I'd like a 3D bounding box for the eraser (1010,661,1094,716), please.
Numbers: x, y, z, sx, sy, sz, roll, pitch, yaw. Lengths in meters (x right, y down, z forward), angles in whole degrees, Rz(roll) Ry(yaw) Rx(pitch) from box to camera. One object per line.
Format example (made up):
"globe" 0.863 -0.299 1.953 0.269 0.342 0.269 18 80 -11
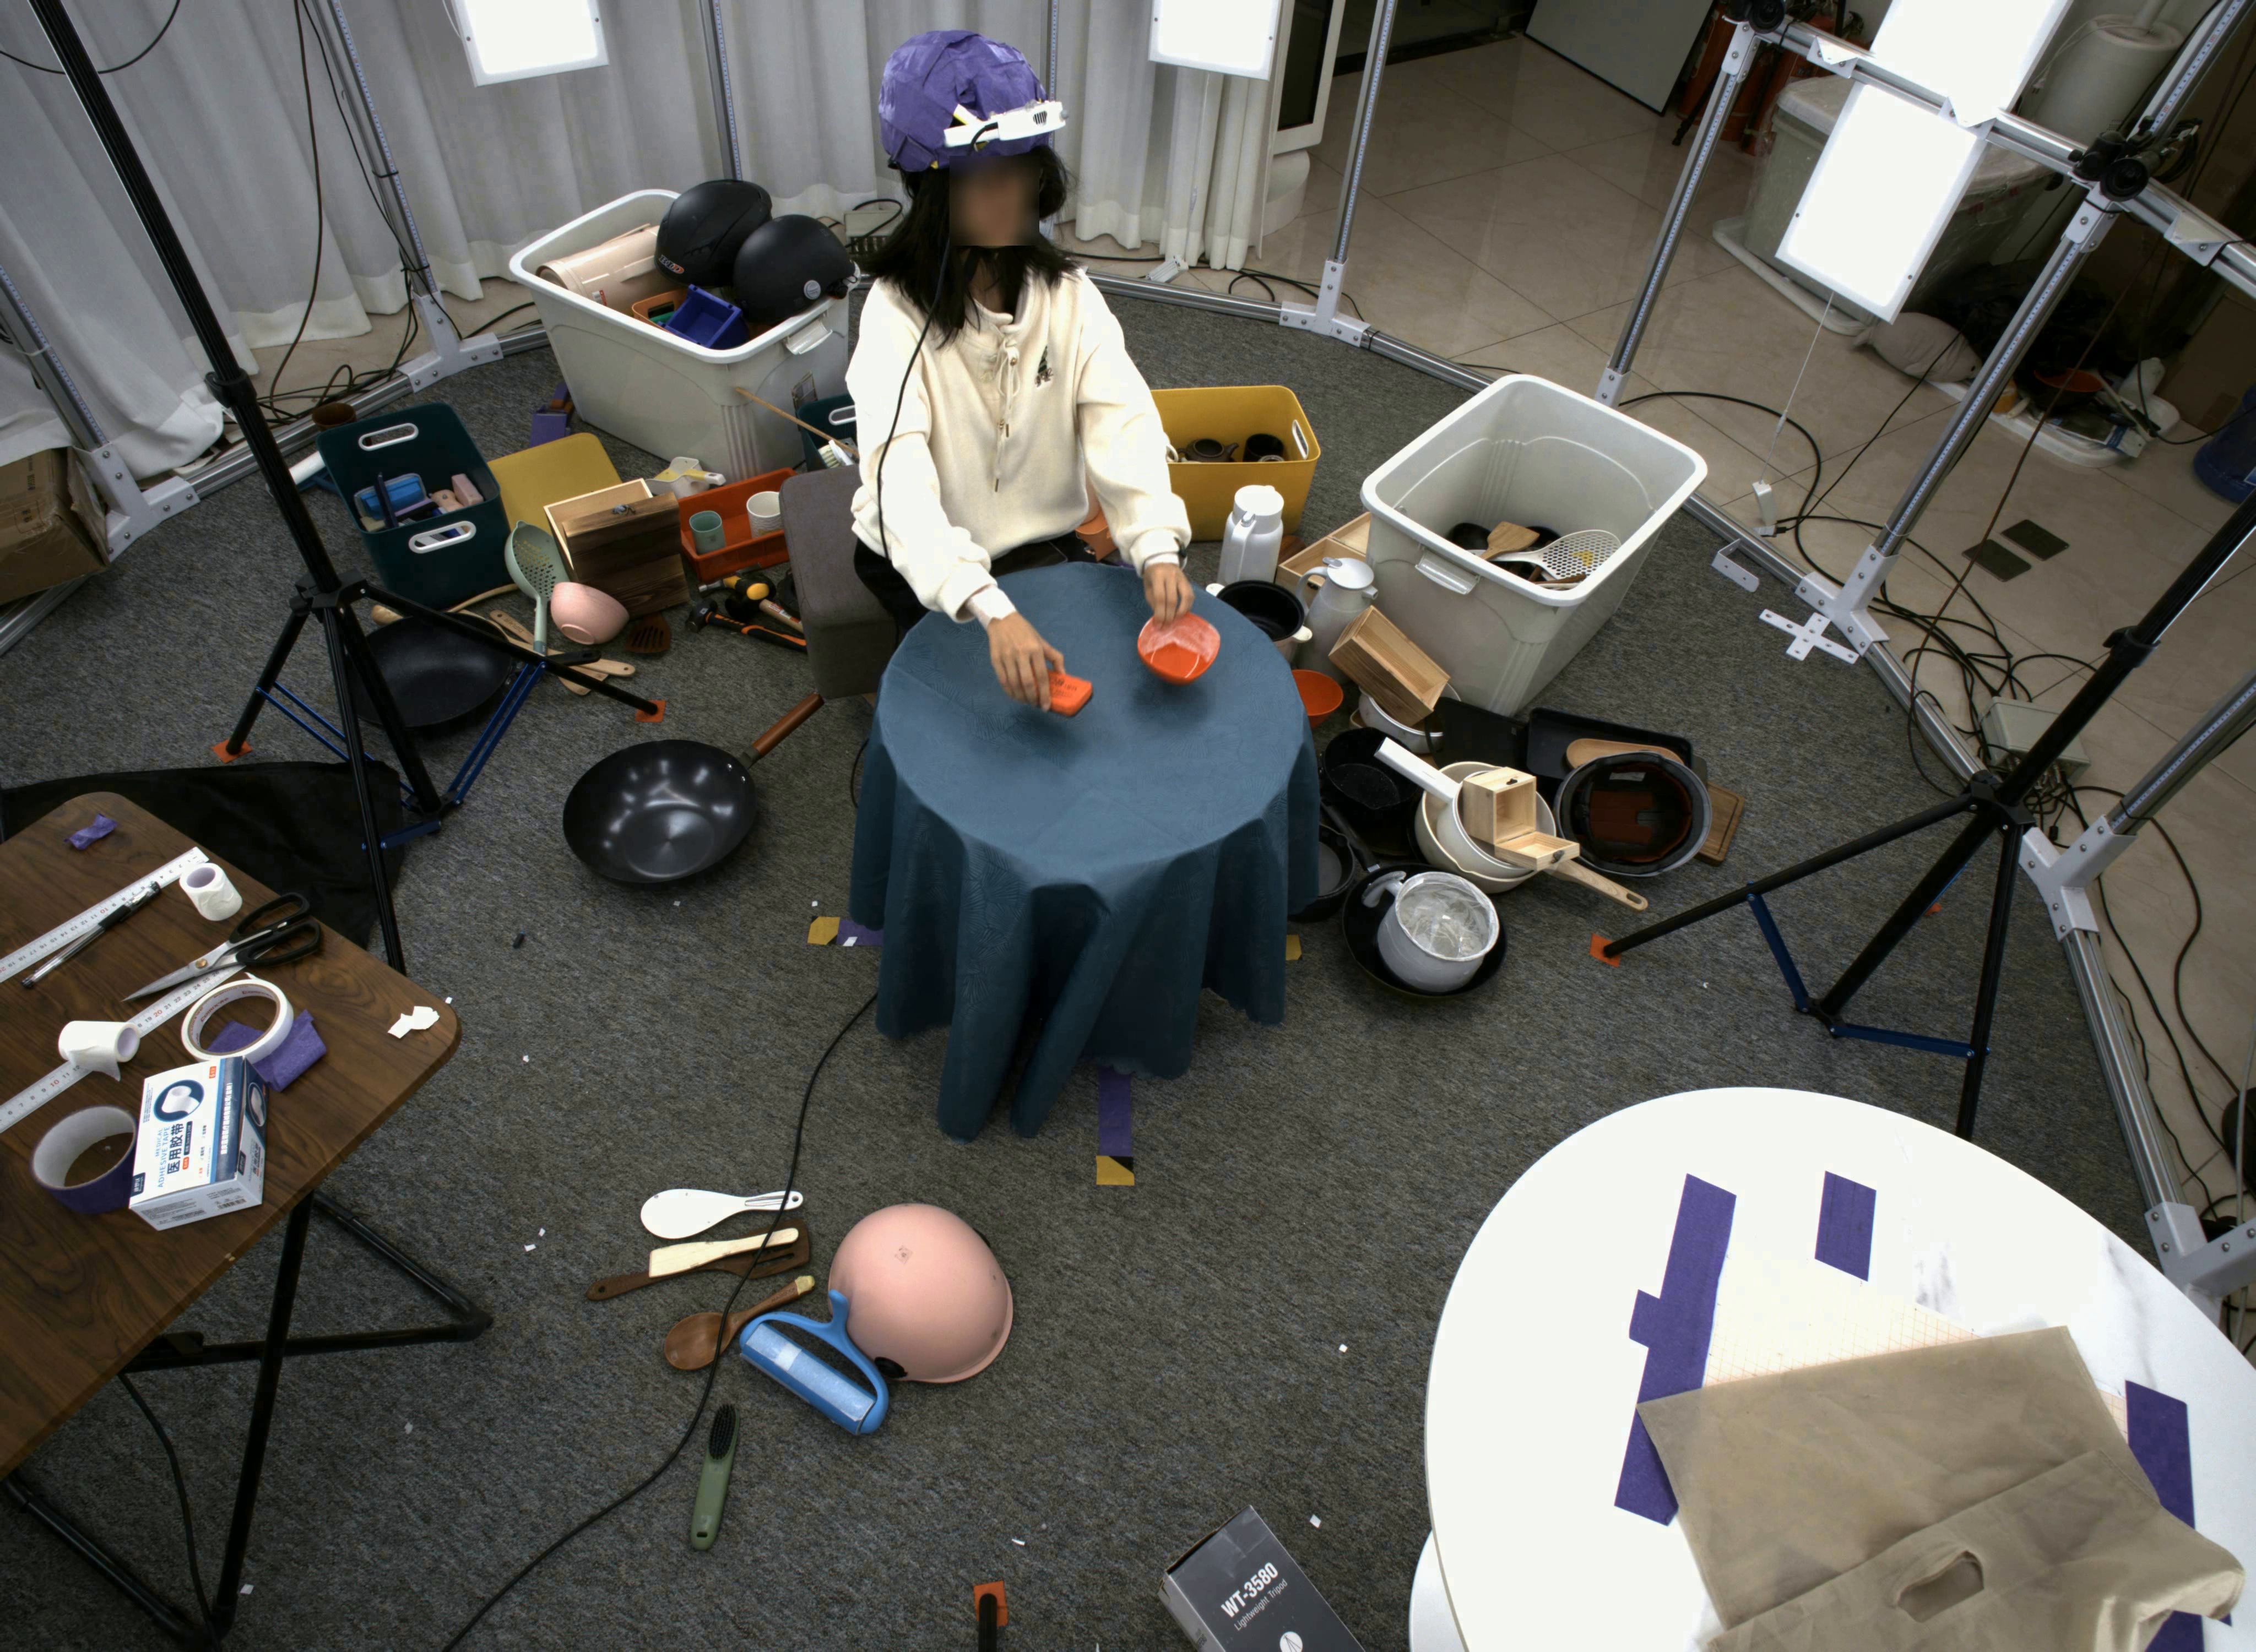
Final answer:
"eraser" -0.103 -0.189 1.751 0.109 0.022 0.060 20 53 26

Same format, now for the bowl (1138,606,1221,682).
"bowl" 0.071 -0.249 1.816 0.119 0.050 0.121 2 60 -4
